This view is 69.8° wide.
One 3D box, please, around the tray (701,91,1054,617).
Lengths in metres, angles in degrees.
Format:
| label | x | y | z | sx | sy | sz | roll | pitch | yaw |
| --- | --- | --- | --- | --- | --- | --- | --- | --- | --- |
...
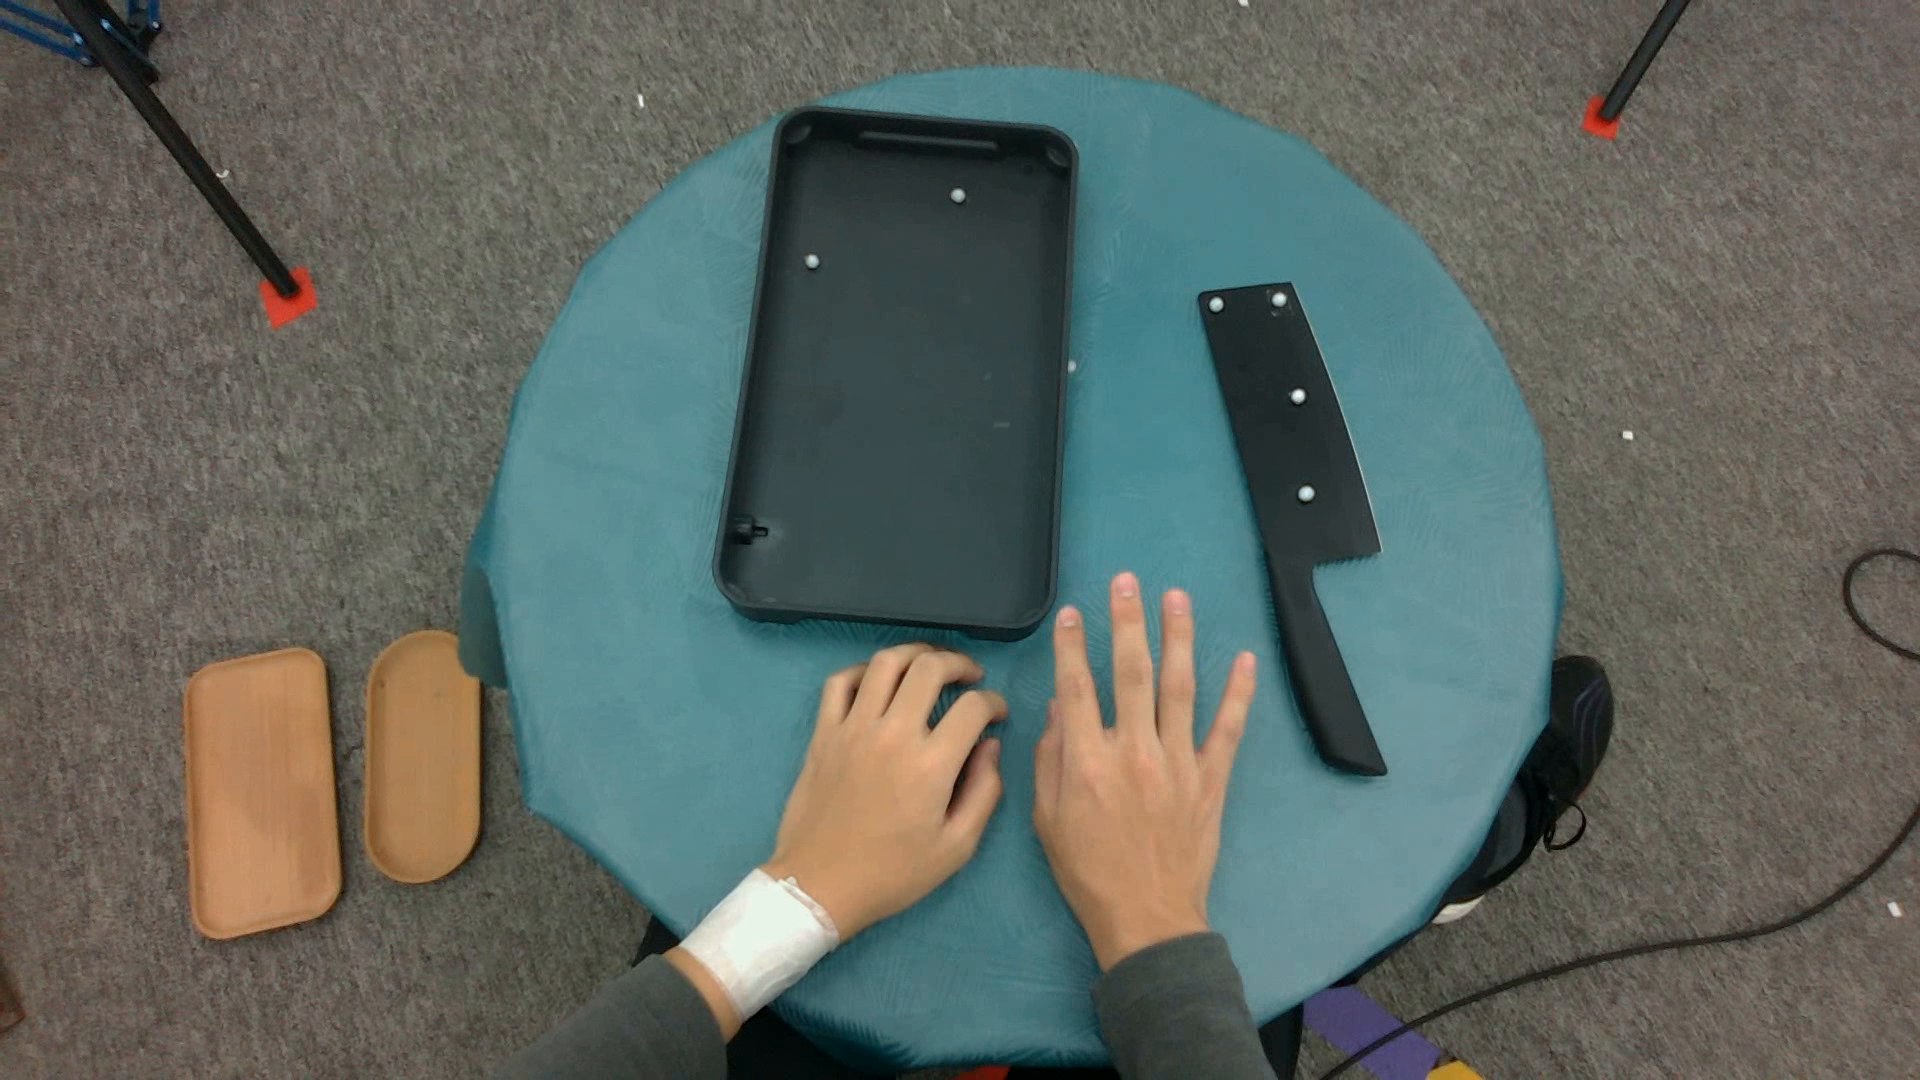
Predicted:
| label | x | y | z | sx | sy | sz | roll | pitch | yaw |
| --- | --- | --- | --- | --- | --- | --- | --- | --- | --- |
| tray | -0.041 | -0.113 | 0.790 | 0.184 | 0.037 | 0.319 | 3 | 69 | -2 |

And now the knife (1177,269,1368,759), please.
| label | x | y | z | sx | sy | sz | roll | pitch | yaw |
| --- | --- | --- | --- | --- | --- | --- | --- | --- | --- |
| knife | 0.185 | -0.025 | 0.780 | 0.081 | 0.021 | 0.303 | -4 | 68 | -6 |
